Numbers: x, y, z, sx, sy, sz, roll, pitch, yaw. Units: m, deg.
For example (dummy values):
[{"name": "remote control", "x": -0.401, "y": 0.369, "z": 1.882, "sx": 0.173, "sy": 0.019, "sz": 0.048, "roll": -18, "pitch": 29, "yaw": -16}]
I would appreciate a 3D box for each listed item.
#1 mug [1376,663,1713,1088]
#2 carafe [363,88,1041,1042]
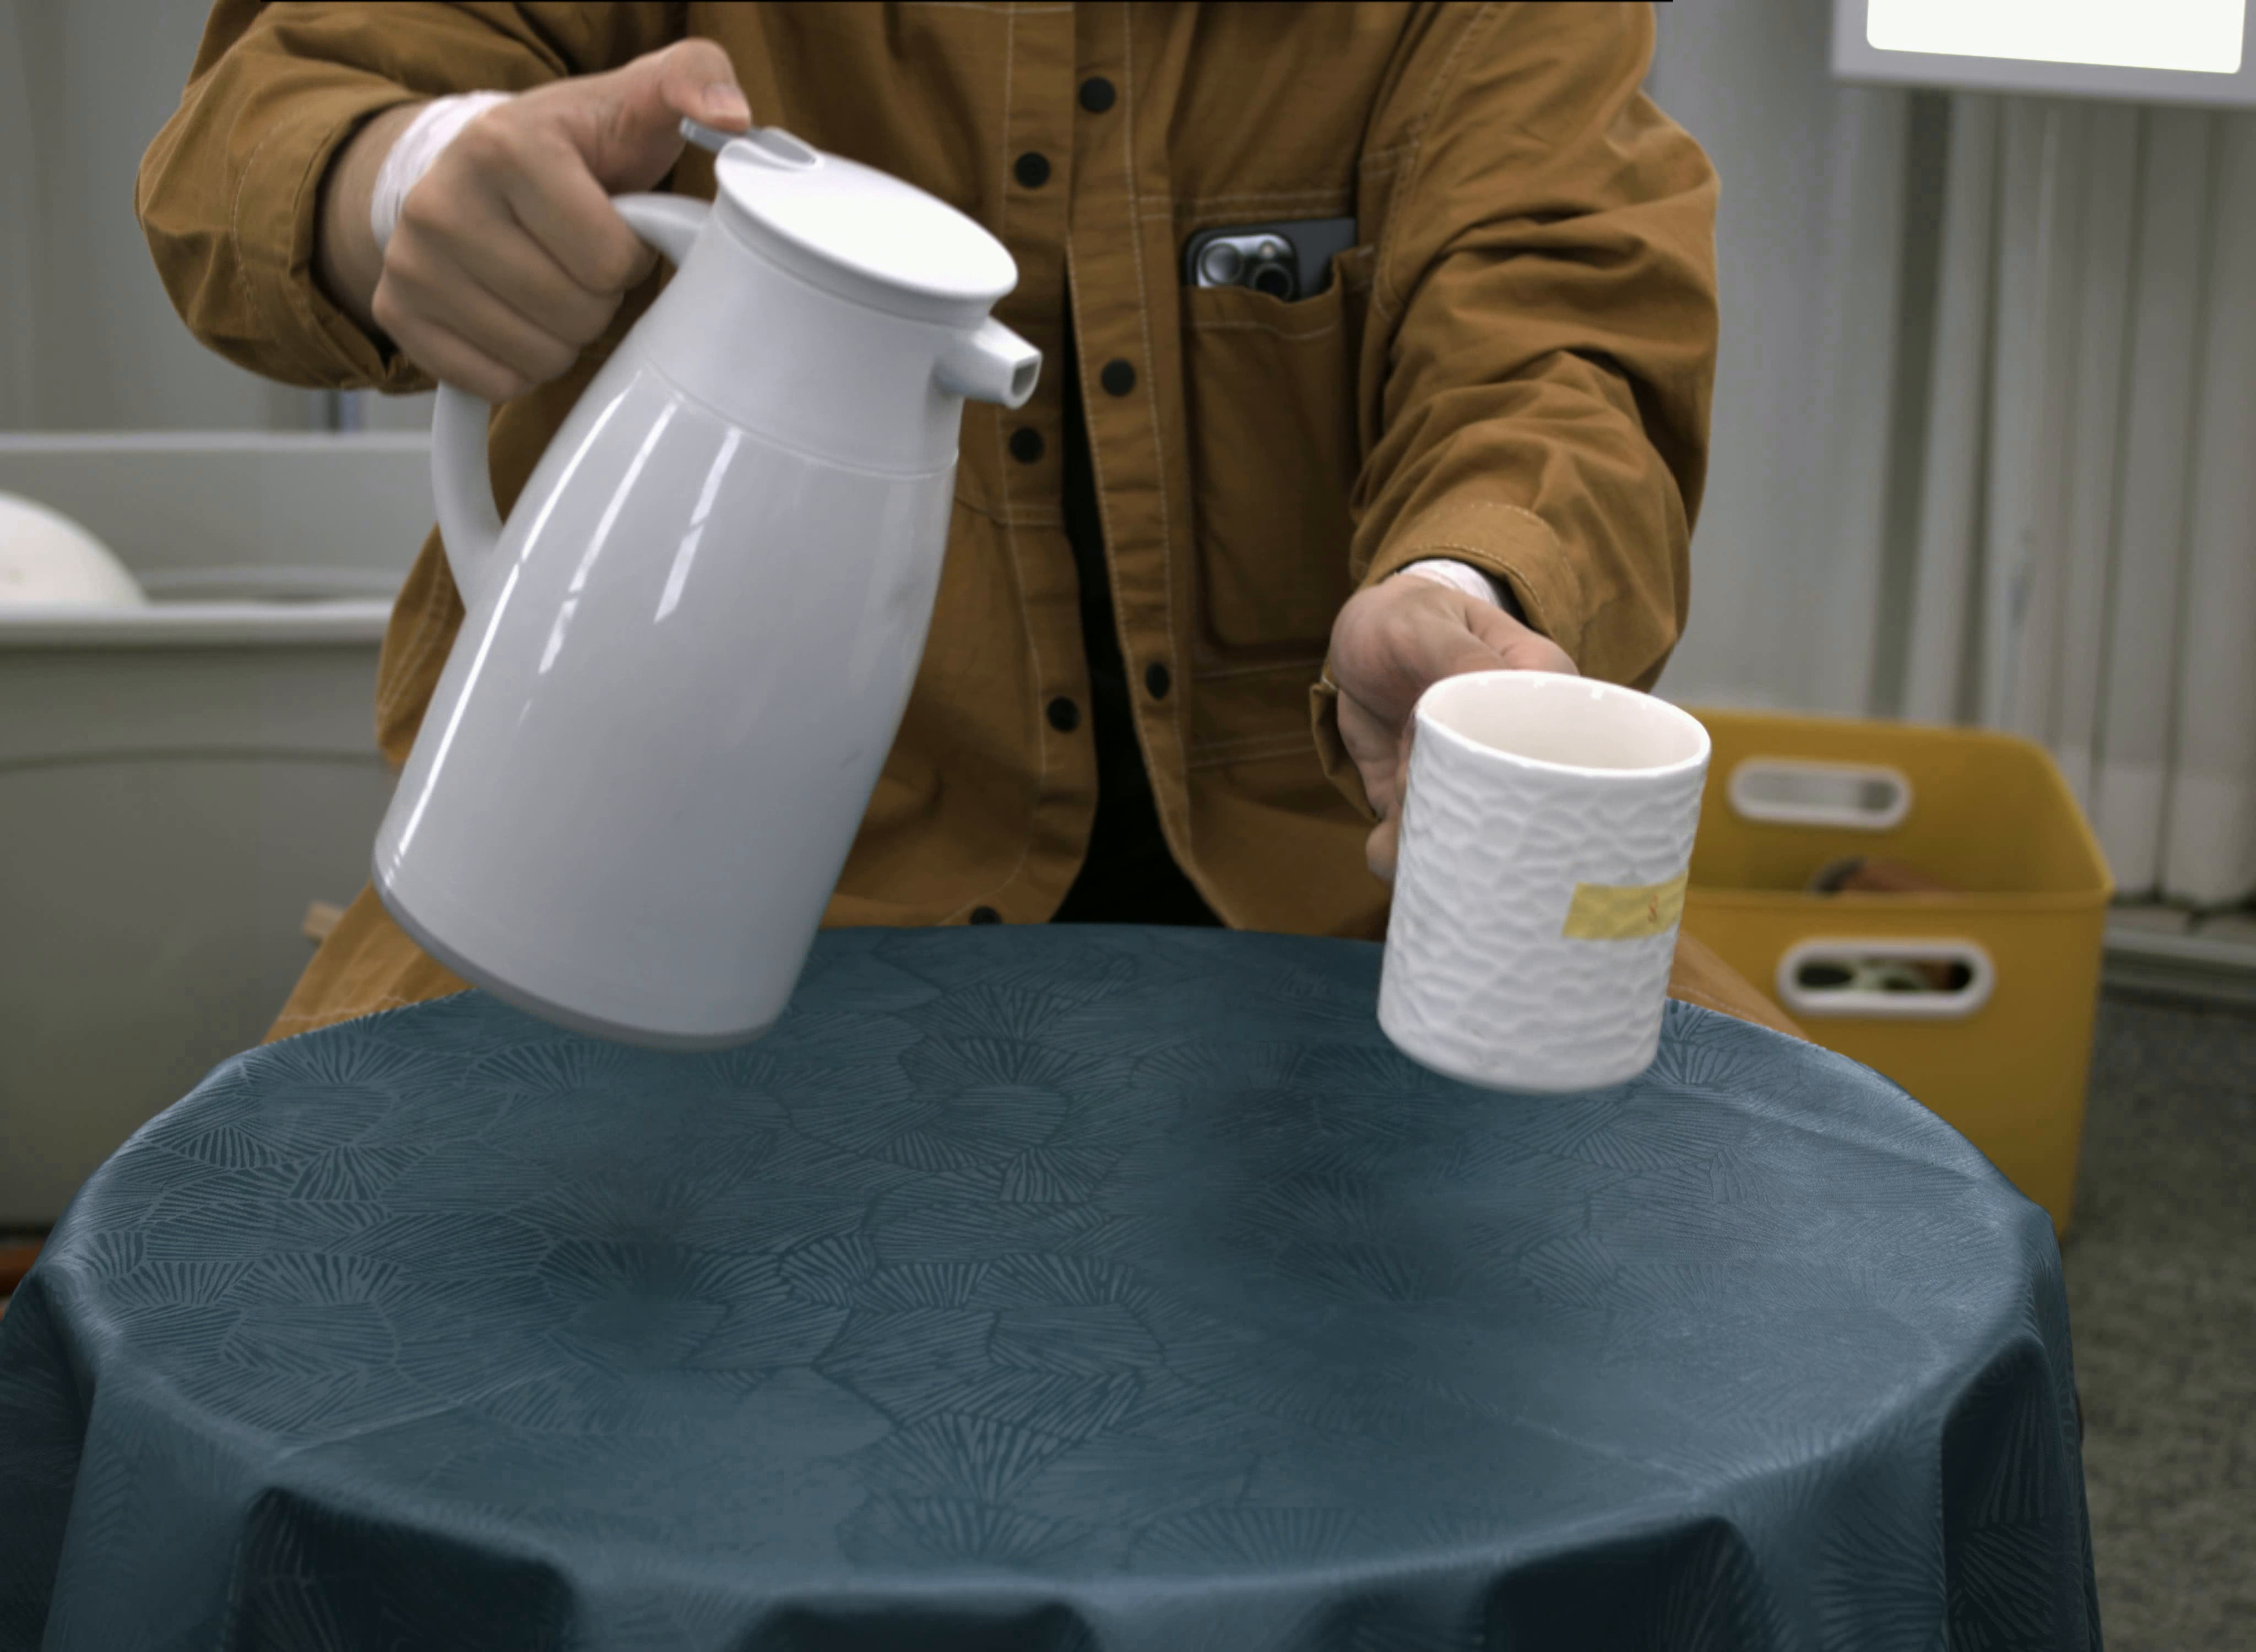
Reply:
[{"name": "mug", "x": 0.114, "y": 0.009, "z": 1.536, "sx": 0.085, "sy": 0.103, "sz": 0.117, "roll": 0, "pitch": 21, "yaw": -21}, {"name": "carafe", "x": -0.134, "y": -0.085, "z": 1.518, "sx": 0.166, "sy": 0.250, "sz": 0.133, "roll": 29, "pitch": 23, "yaw": 13}]
